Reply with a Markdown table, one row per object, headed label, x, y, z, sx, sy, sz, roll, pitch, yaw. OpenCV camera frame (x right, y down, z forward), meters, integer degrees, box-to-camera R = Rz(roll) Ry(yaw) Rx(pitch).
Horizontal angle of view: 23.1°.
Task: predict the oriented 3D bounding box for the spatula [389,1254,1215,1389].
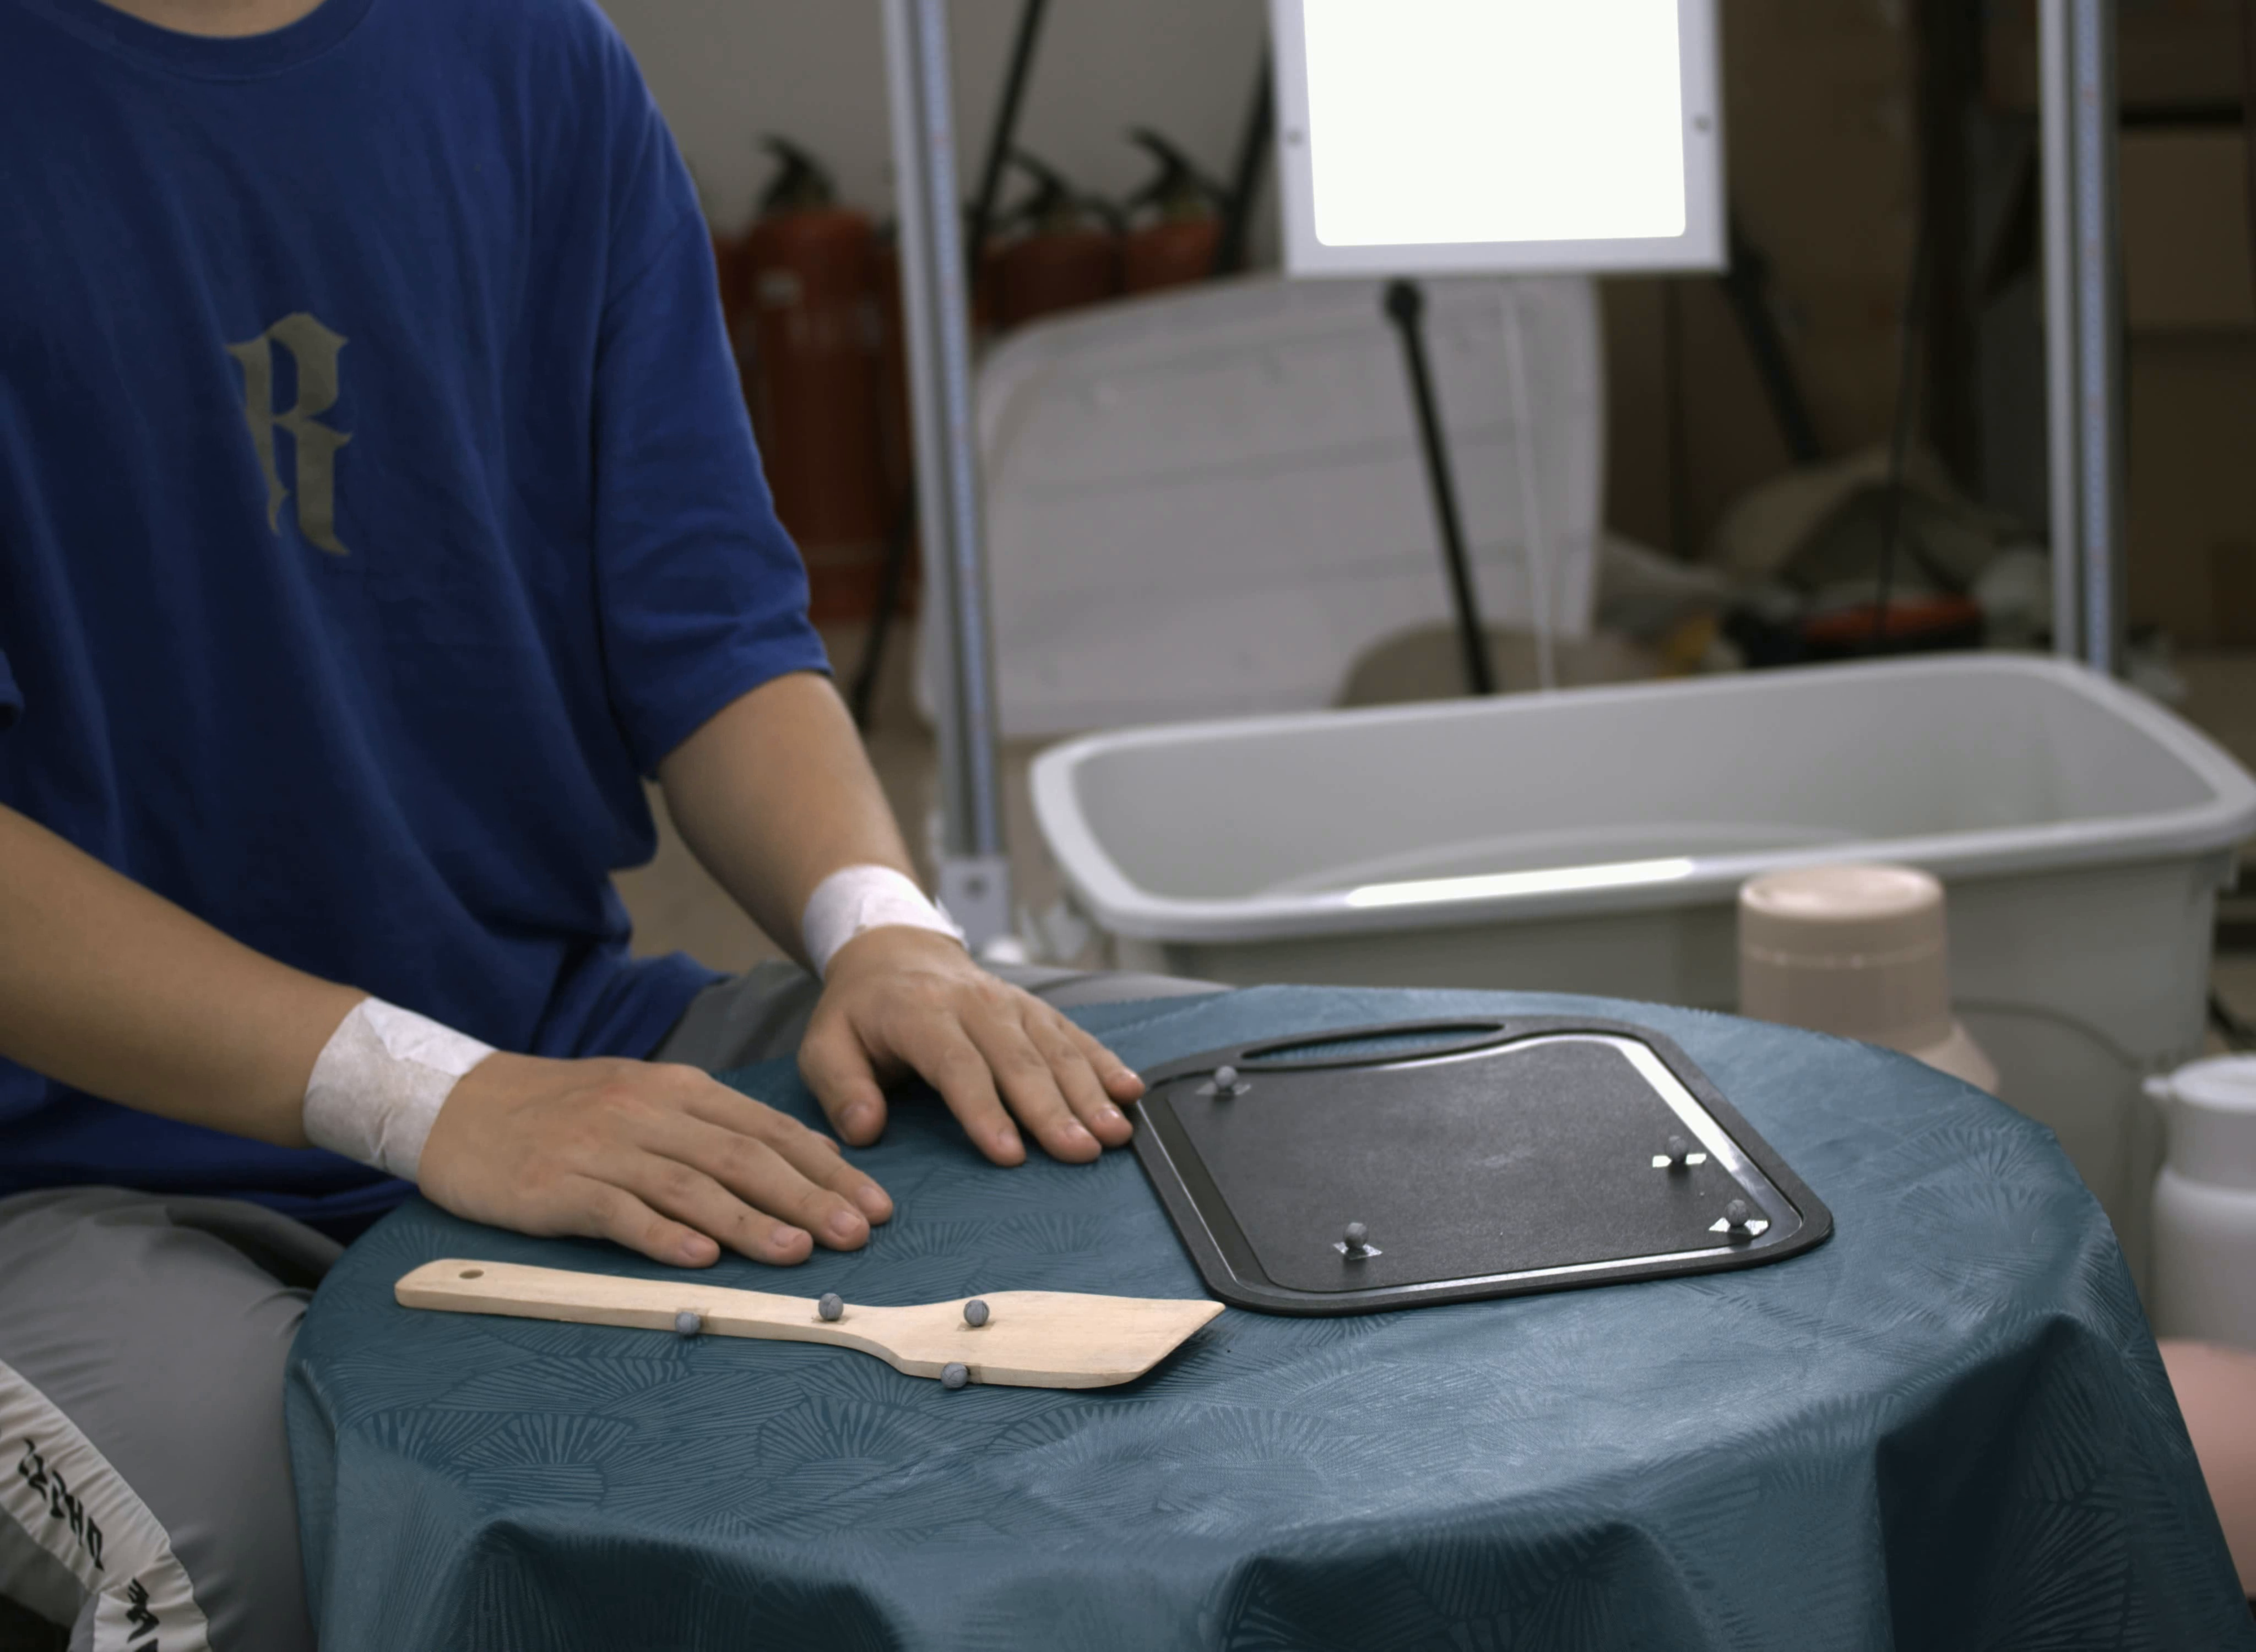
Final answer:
| label | x | y | z | sx | sy | sz | roll | pitch | yaw |
| --- | --- | --- | --- | --- | --- | --- | --- | --- | --- |
| spatula | -0.115 | 0.158 | 1.791 | 0.298 | 0.011 | 0.071 | 3 | 17 | 28 |

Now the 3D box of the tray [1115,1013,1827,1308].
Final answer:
| label | x | y | z | sx | sy | sz | roll | pitch | yaw |
| --- | --- | --- | --- | --- | --- | --- | --- | --- | --- |
| tray | 0.111 | 0.110 | 1.910 | 0.209 | 0.010 | 0.326 | -6 | 14 | -5 |
